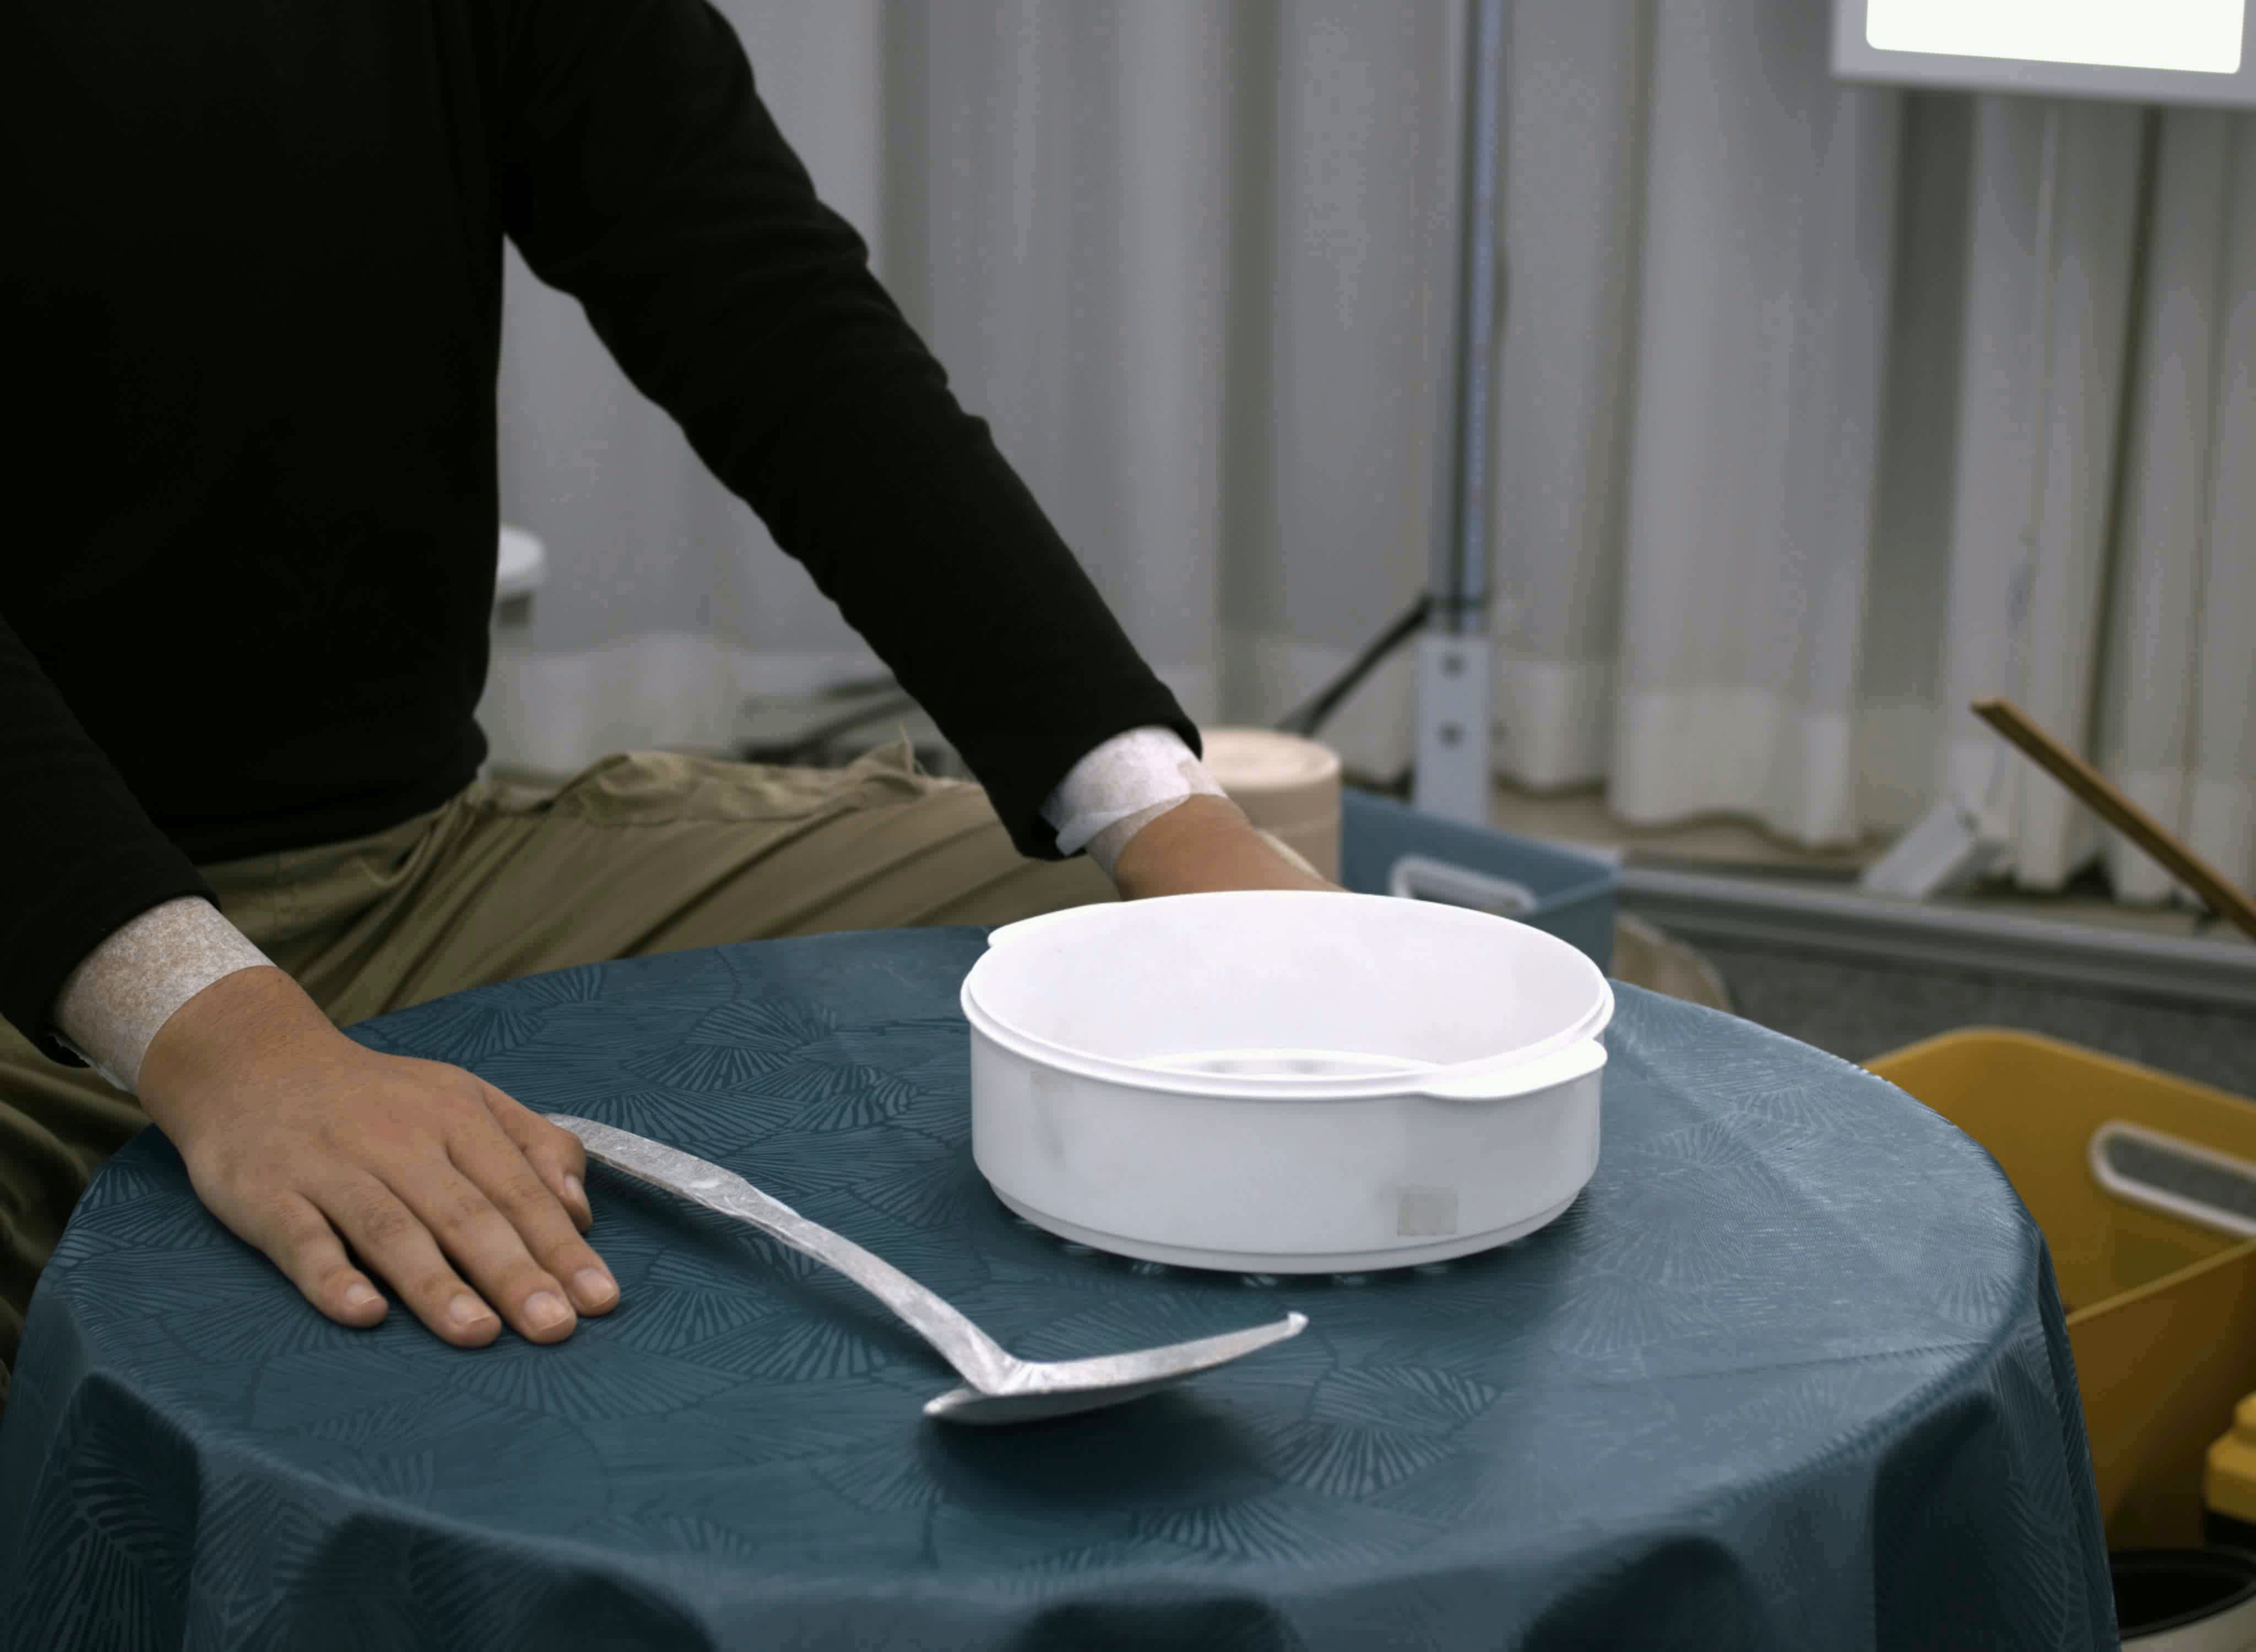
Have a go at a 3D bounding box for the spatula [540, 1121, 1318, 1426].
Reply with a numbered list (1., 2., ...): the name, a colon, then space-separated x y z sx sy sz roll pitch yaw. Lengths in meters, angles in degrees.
1. spatula: -0.083 0.119 1.522 0.099 0.045 0.360 -13 20 -34

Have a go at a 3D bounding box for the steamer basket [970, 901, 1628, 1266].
1. steamer basket: 0.052 0.079 1.614 0.203 0.070 0.227 -12 18 -41
